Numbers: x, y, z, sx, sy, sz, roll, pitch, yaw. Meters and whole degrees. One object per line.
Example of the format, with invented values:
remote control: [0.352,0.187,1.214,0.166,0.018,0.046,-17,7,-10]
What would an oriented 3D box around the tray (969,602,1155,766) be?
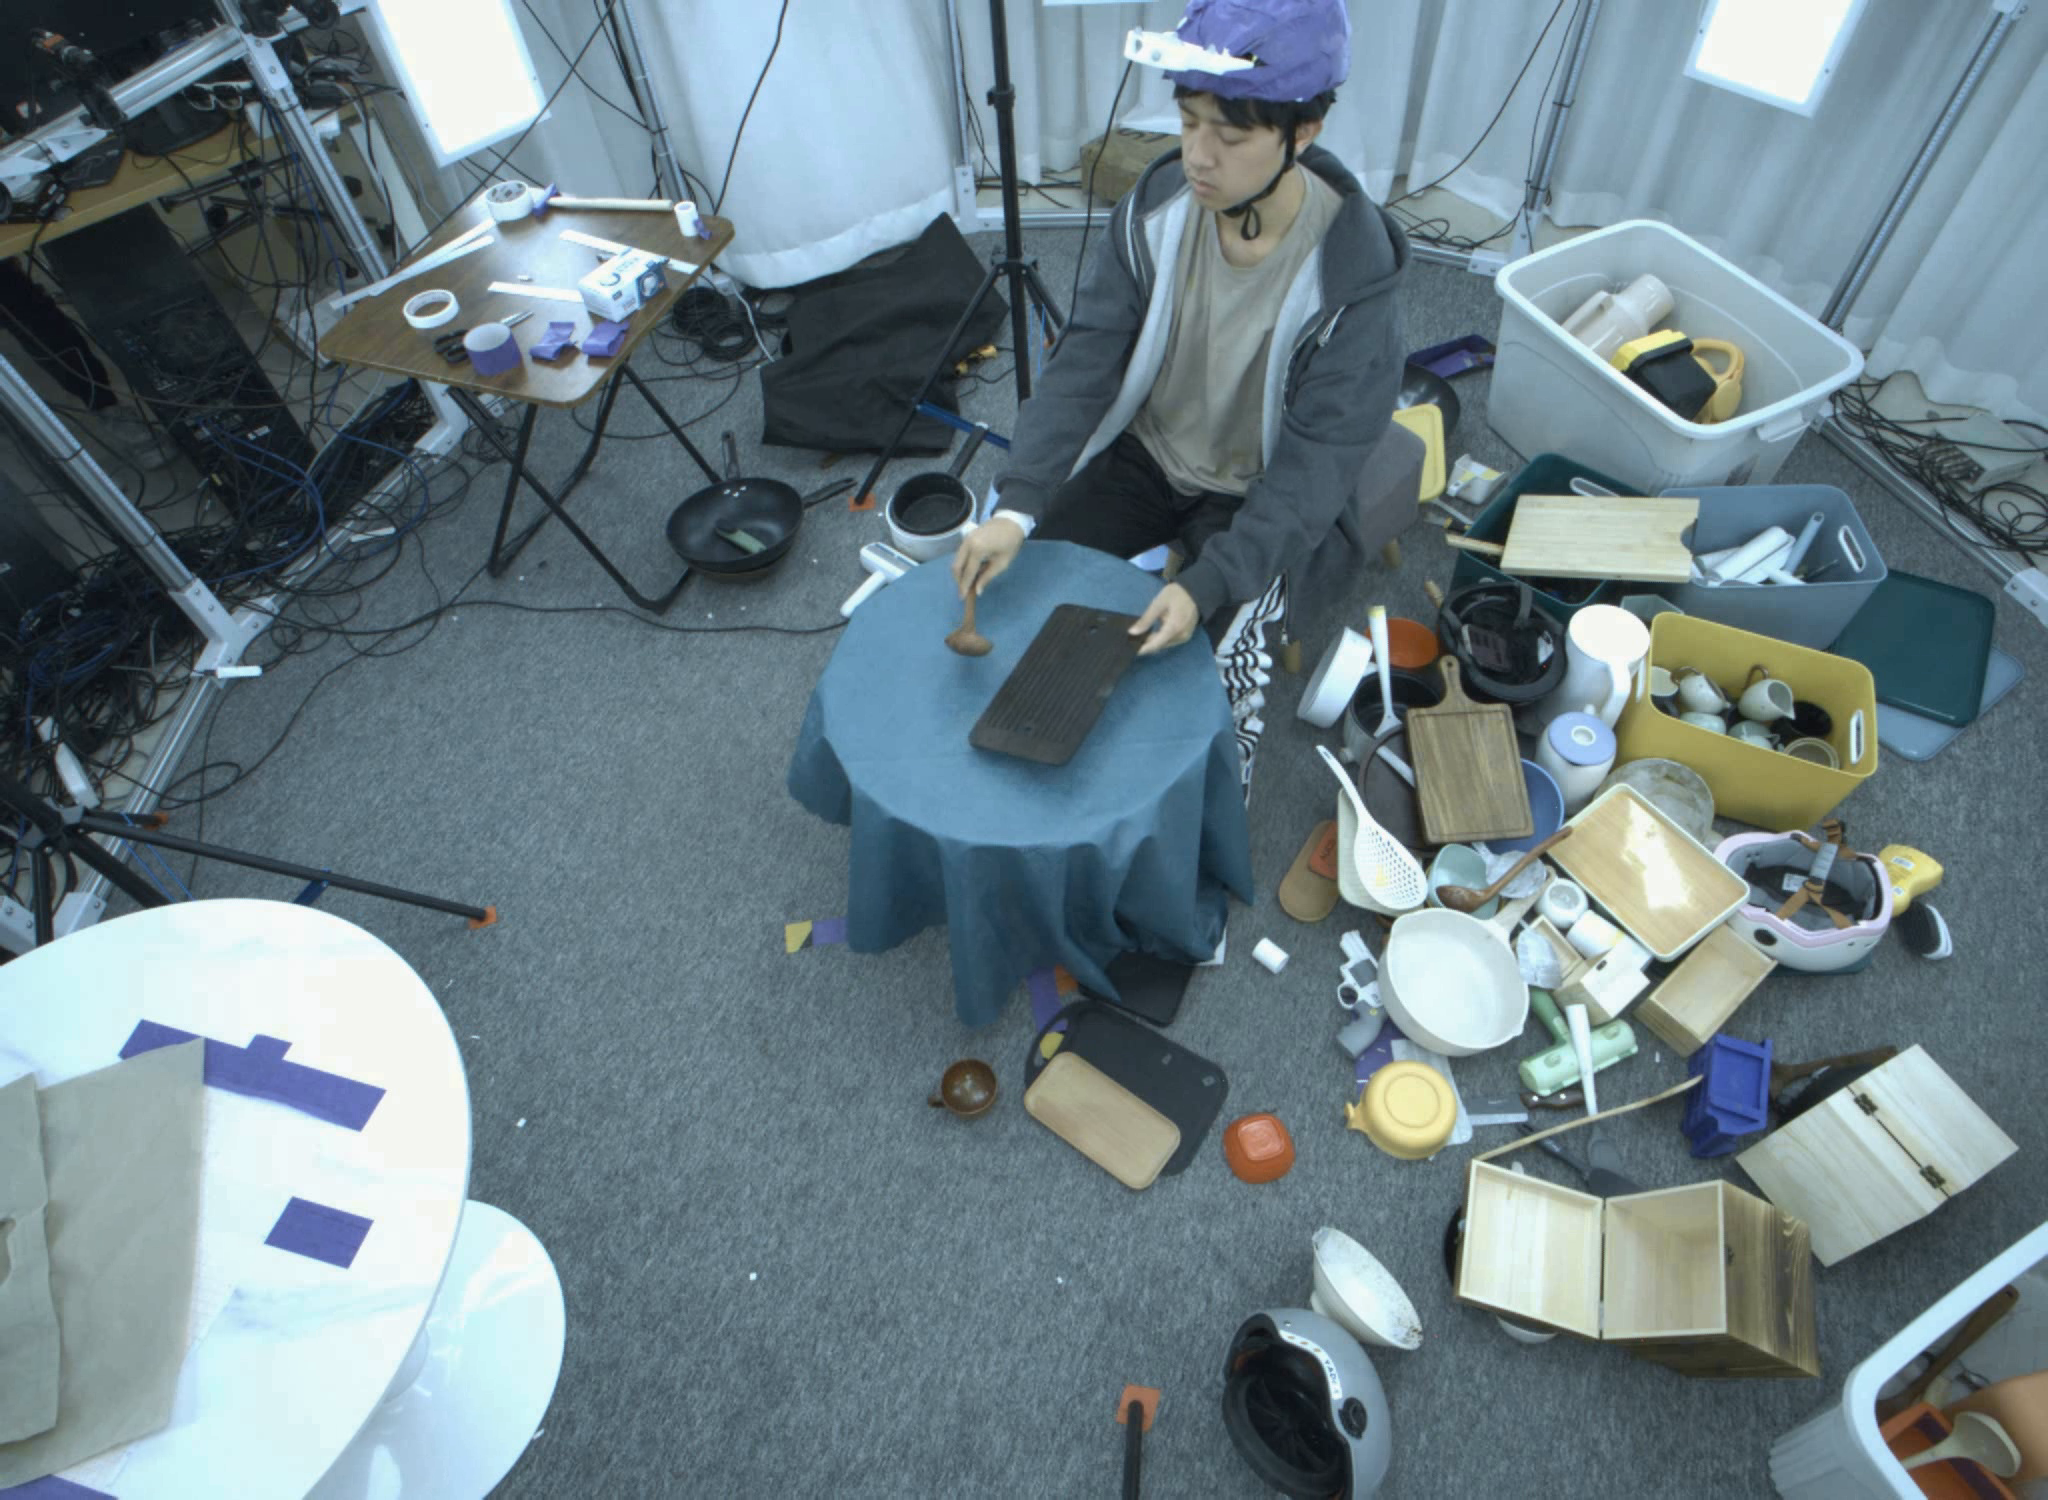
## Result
tray: [0.060,-0.102,1.815,0.167,0.019,0.306,15,55,28]

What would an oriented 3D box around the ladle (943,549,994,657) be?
ladle: [-0.081,-0.237,1.882,0.077,0.065,0.257,14,49,-15]
